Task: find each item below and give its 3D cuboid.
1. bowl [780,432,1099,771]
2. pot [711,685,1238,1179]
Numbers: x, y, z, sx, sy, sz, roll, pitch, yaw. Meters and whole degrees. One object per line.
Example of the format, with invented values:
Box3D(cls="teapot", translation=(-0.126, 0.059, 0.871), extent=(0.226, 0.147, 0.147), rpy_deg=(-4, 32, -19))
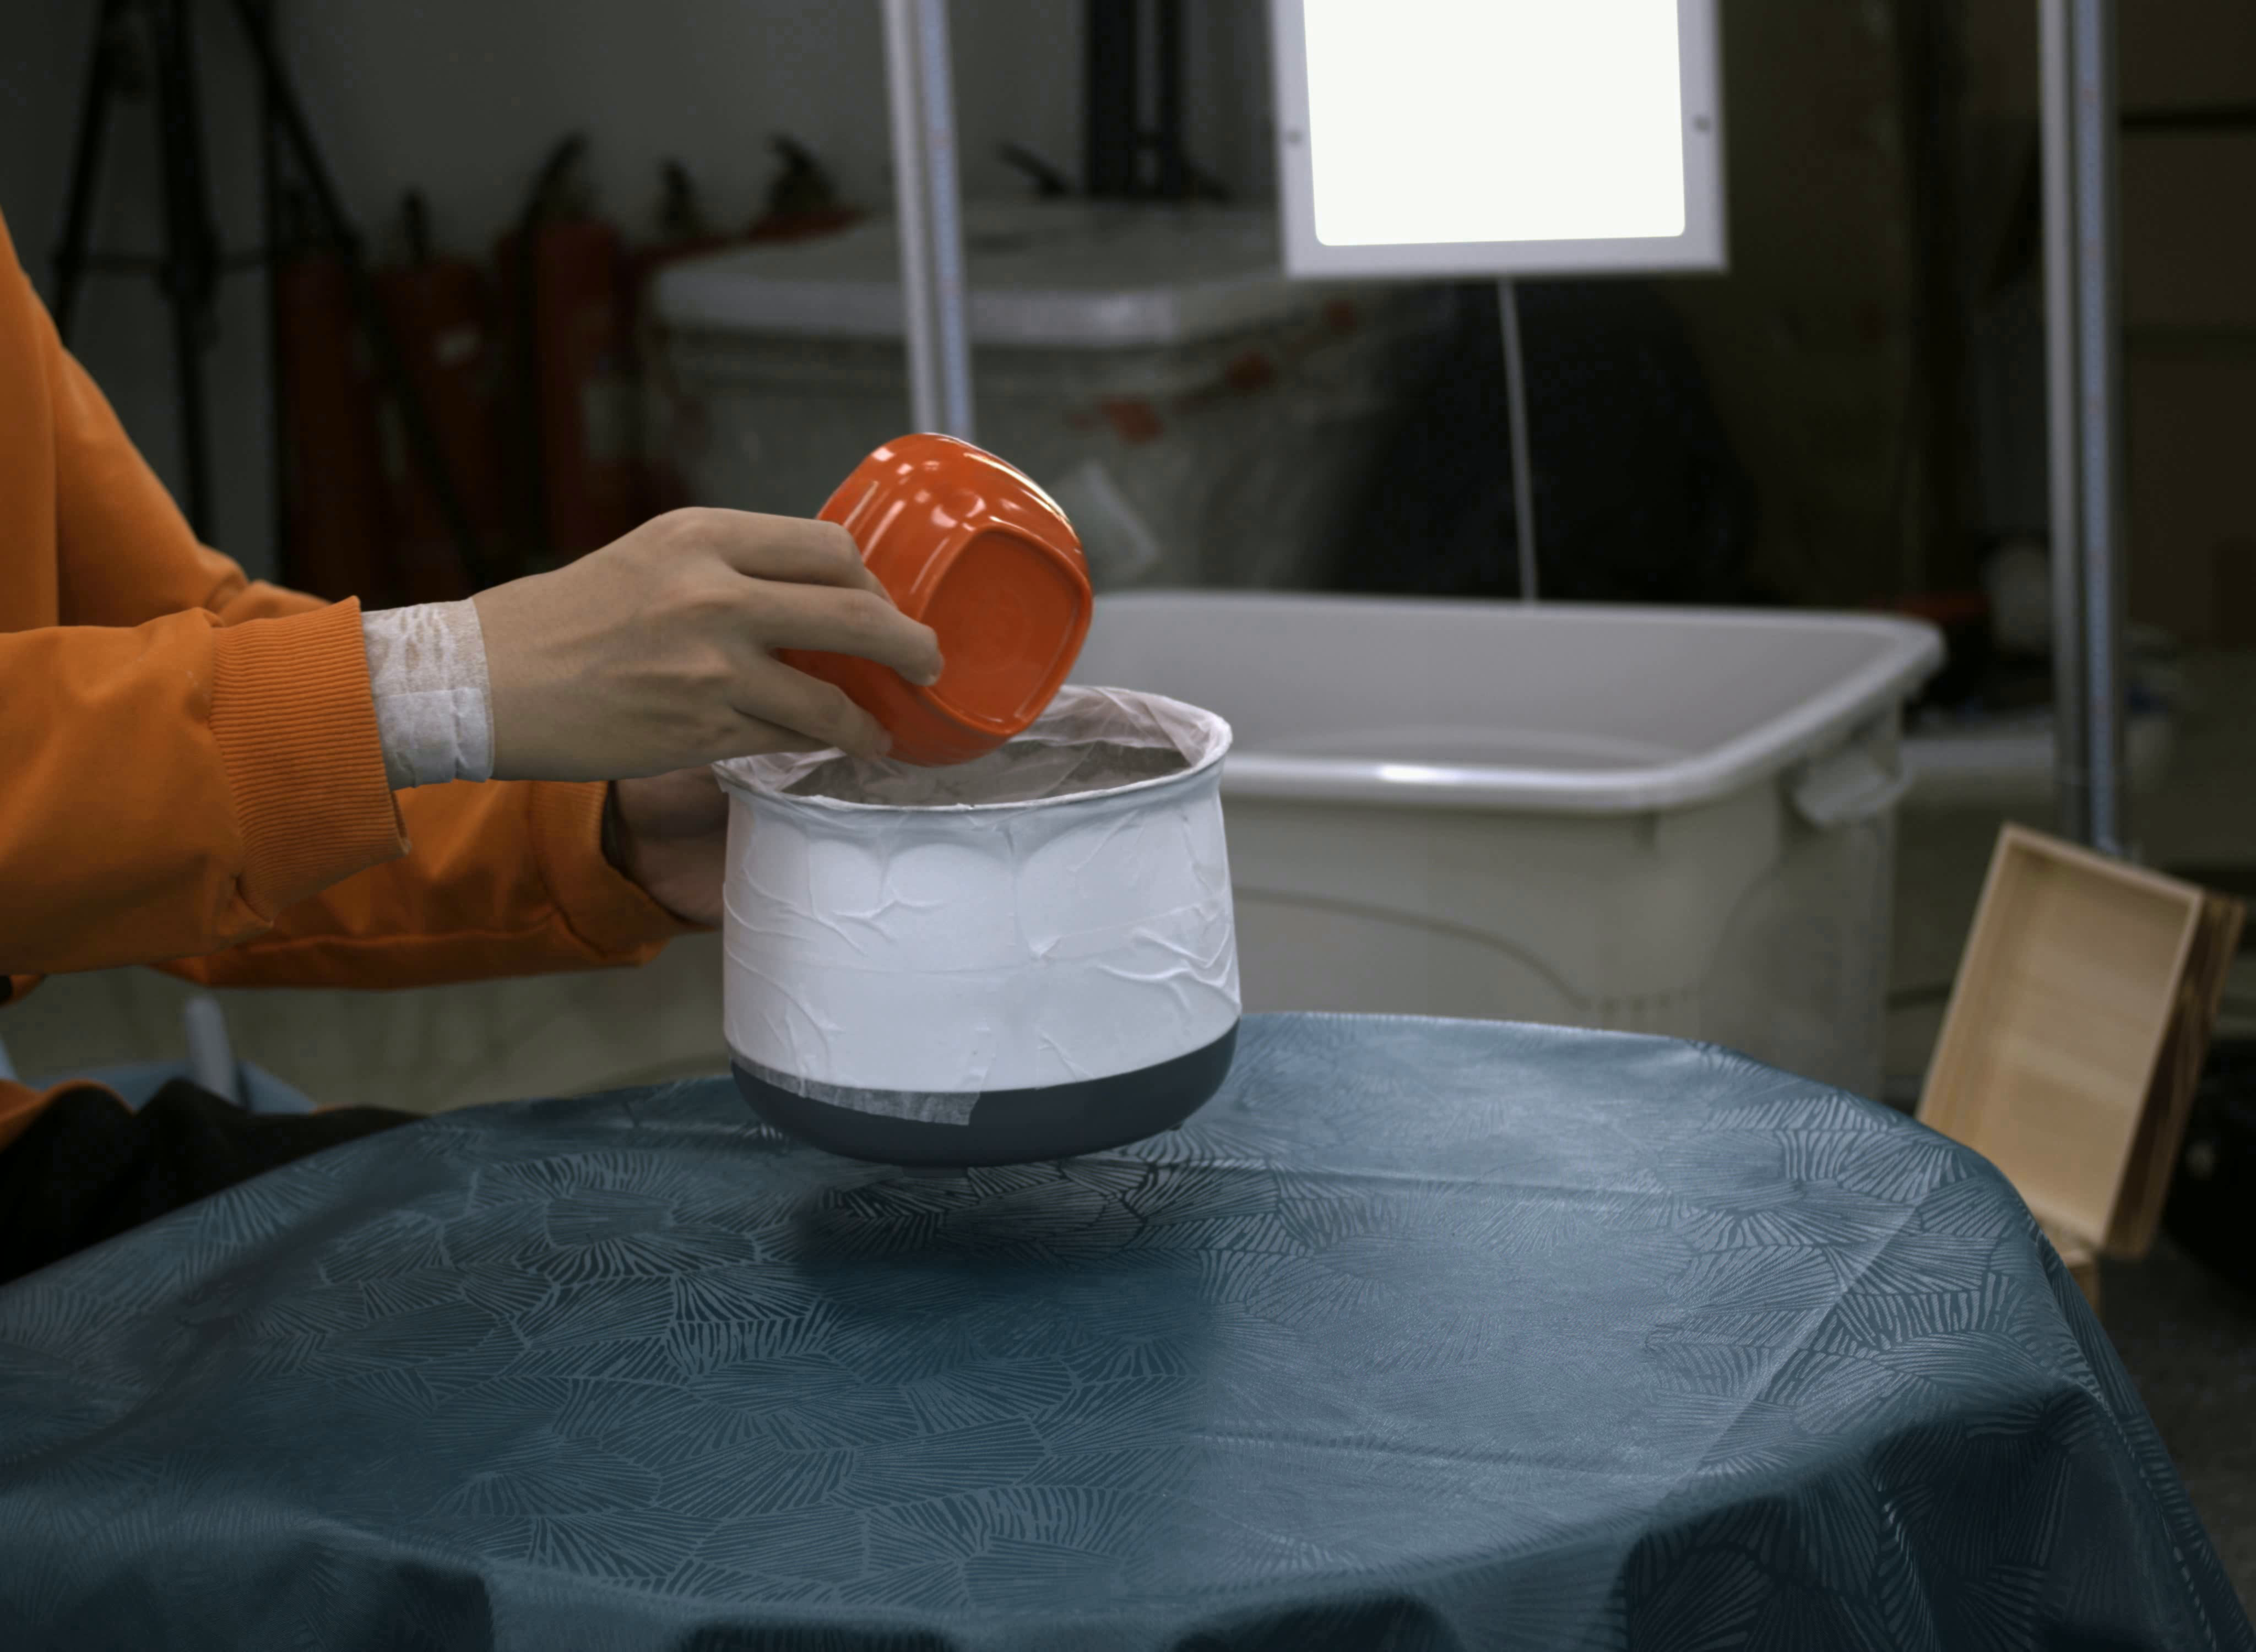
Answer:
Box3D(cls="bowl", translation=(-0.055, -0.070, 1.859), extent=(0.116, 0.119, 0.052), rpy_deg=(-12, 23, -30))
Box3D(cls="pot", translation=(-0.067, 0.028, 1.889), extent=(0.174, 0.137, 0.238), rpy_deg=(-11, 17, -31))
